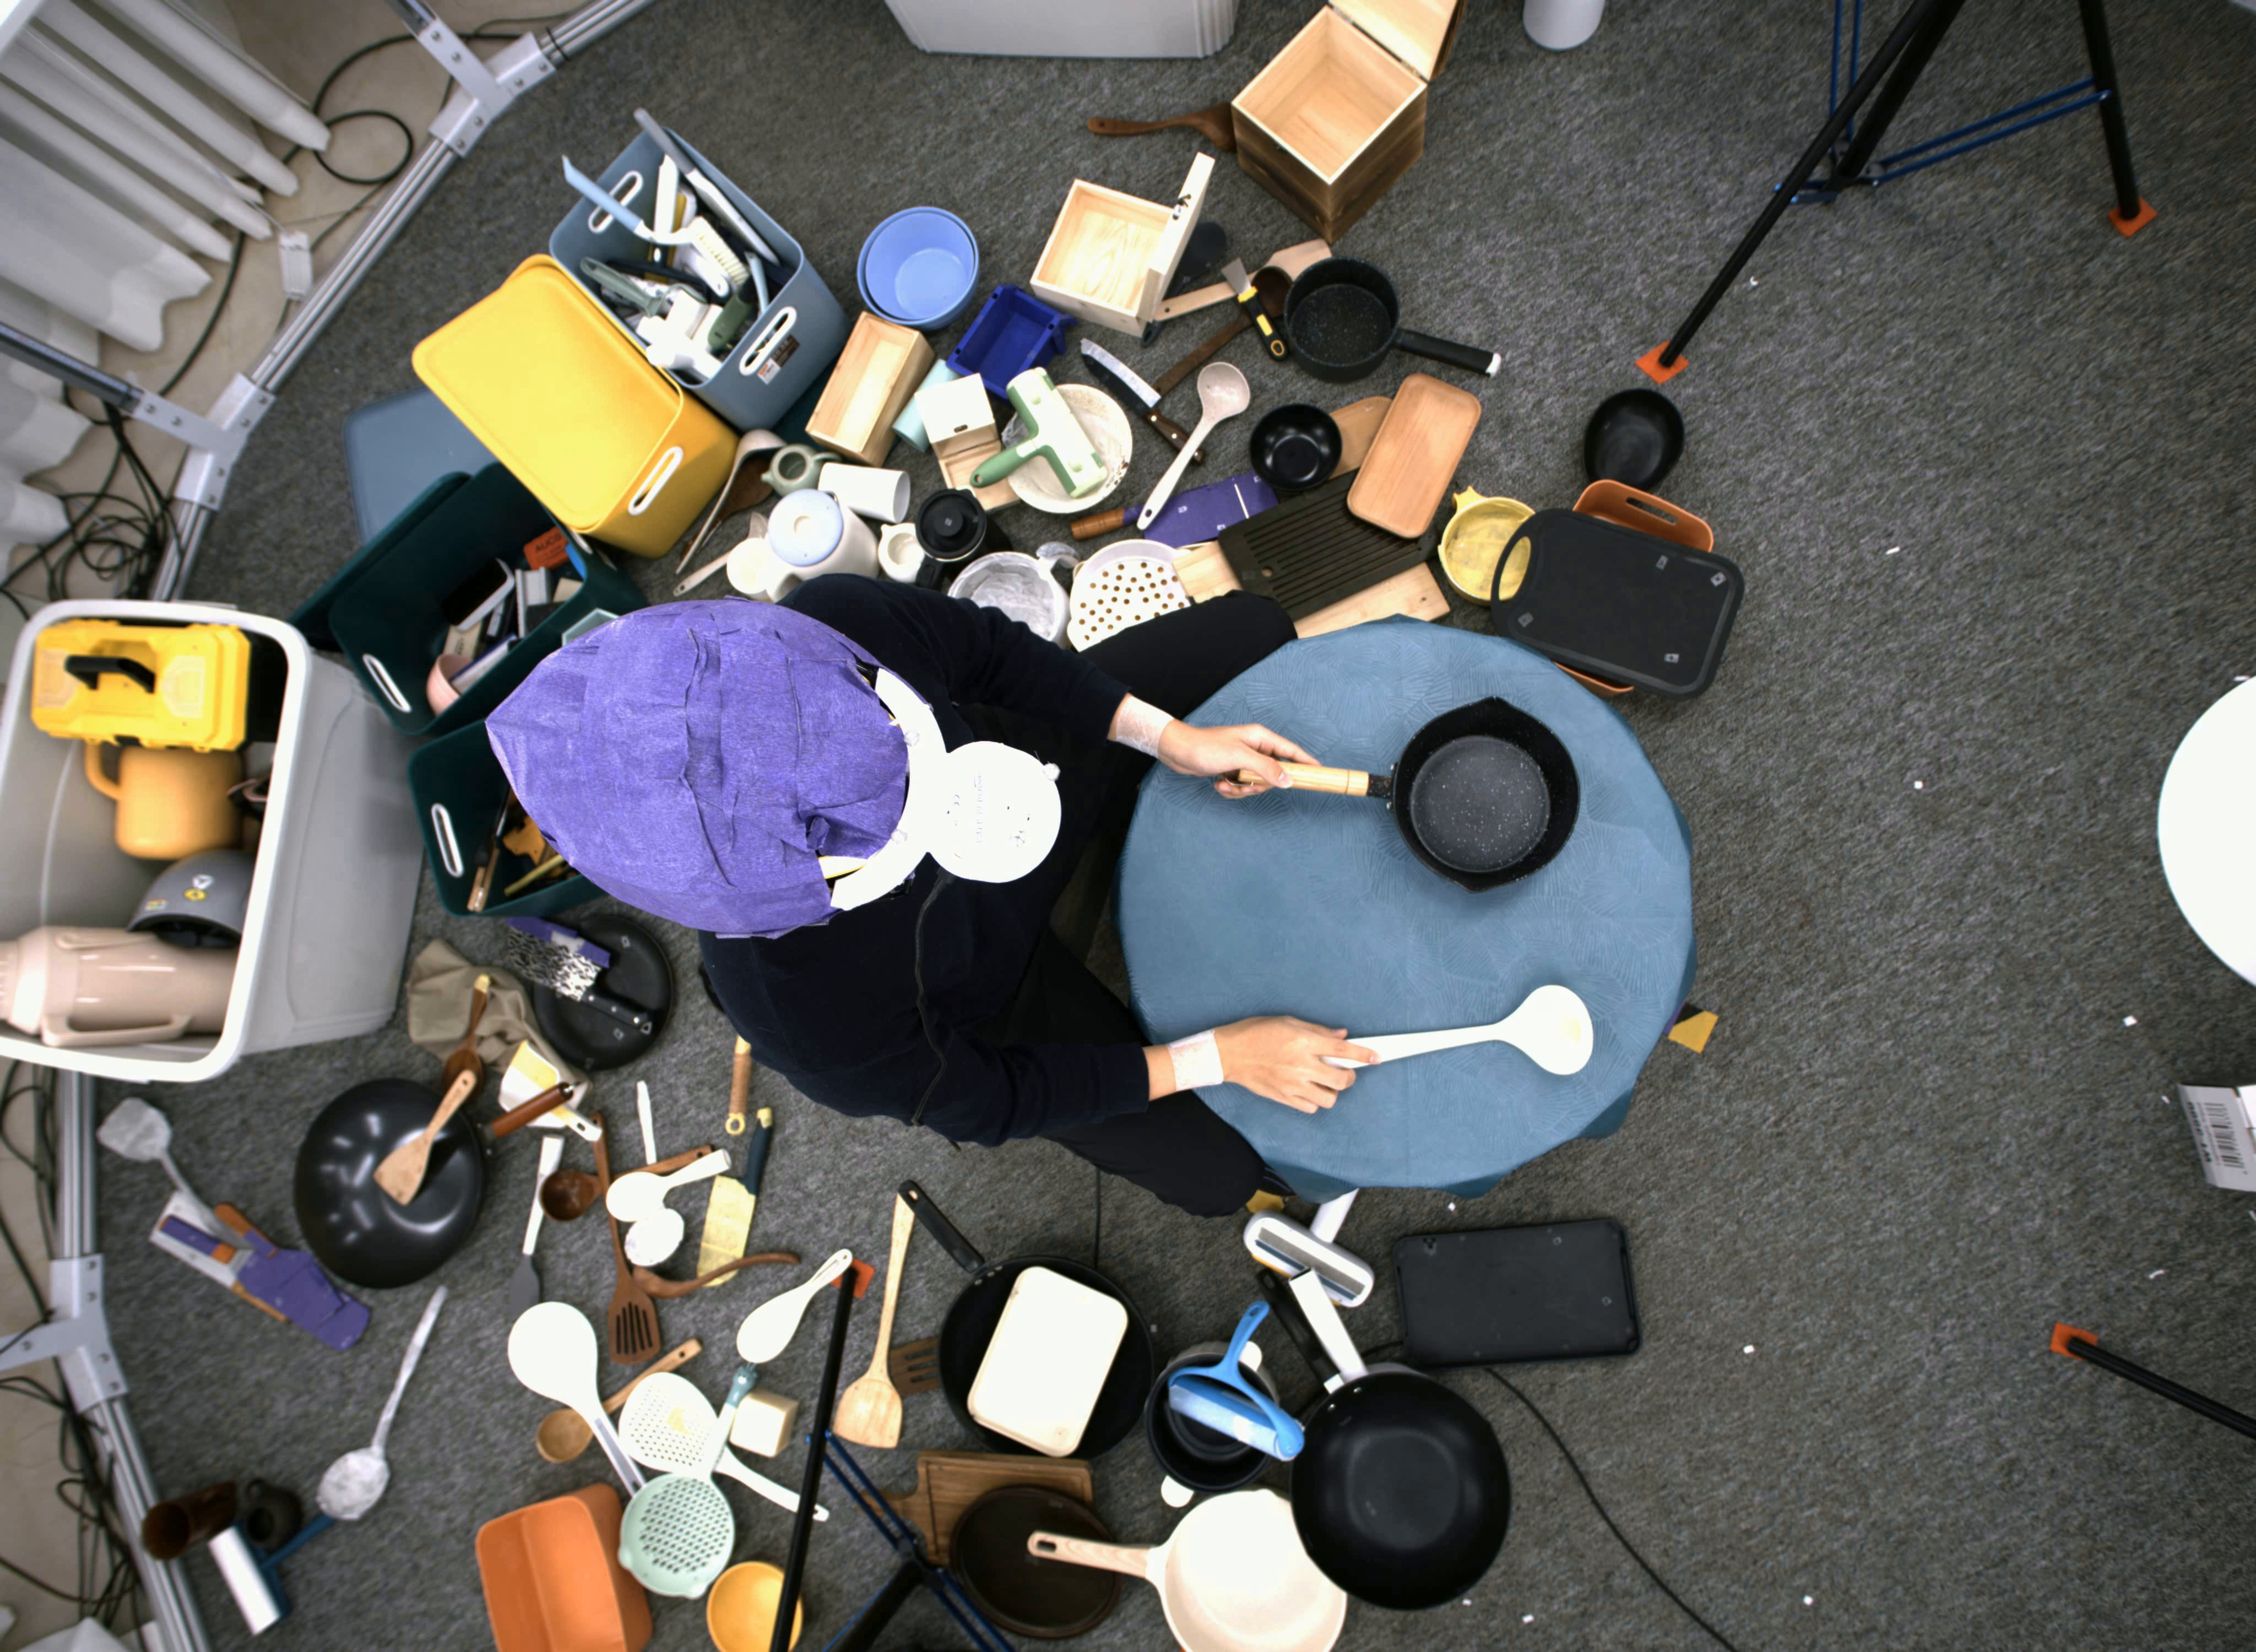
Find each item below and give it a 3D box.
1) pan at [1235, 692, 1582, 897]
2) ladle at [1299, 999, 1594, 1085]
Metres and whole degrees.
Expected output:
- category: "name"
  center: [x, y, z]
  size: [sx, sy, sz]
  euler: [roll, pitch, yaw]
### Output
- category: "pan"
  center: [0.283, -0.037, 1.409]
  size: [0.344, 0.108, 0.207]
  euler: [5, 88, 10]
- category: "ladle"
  center: [0.321, 0.229, 1.410]
  size: [0.294, 0.069, 0.091]
  euler: [-8, 100, 10]
